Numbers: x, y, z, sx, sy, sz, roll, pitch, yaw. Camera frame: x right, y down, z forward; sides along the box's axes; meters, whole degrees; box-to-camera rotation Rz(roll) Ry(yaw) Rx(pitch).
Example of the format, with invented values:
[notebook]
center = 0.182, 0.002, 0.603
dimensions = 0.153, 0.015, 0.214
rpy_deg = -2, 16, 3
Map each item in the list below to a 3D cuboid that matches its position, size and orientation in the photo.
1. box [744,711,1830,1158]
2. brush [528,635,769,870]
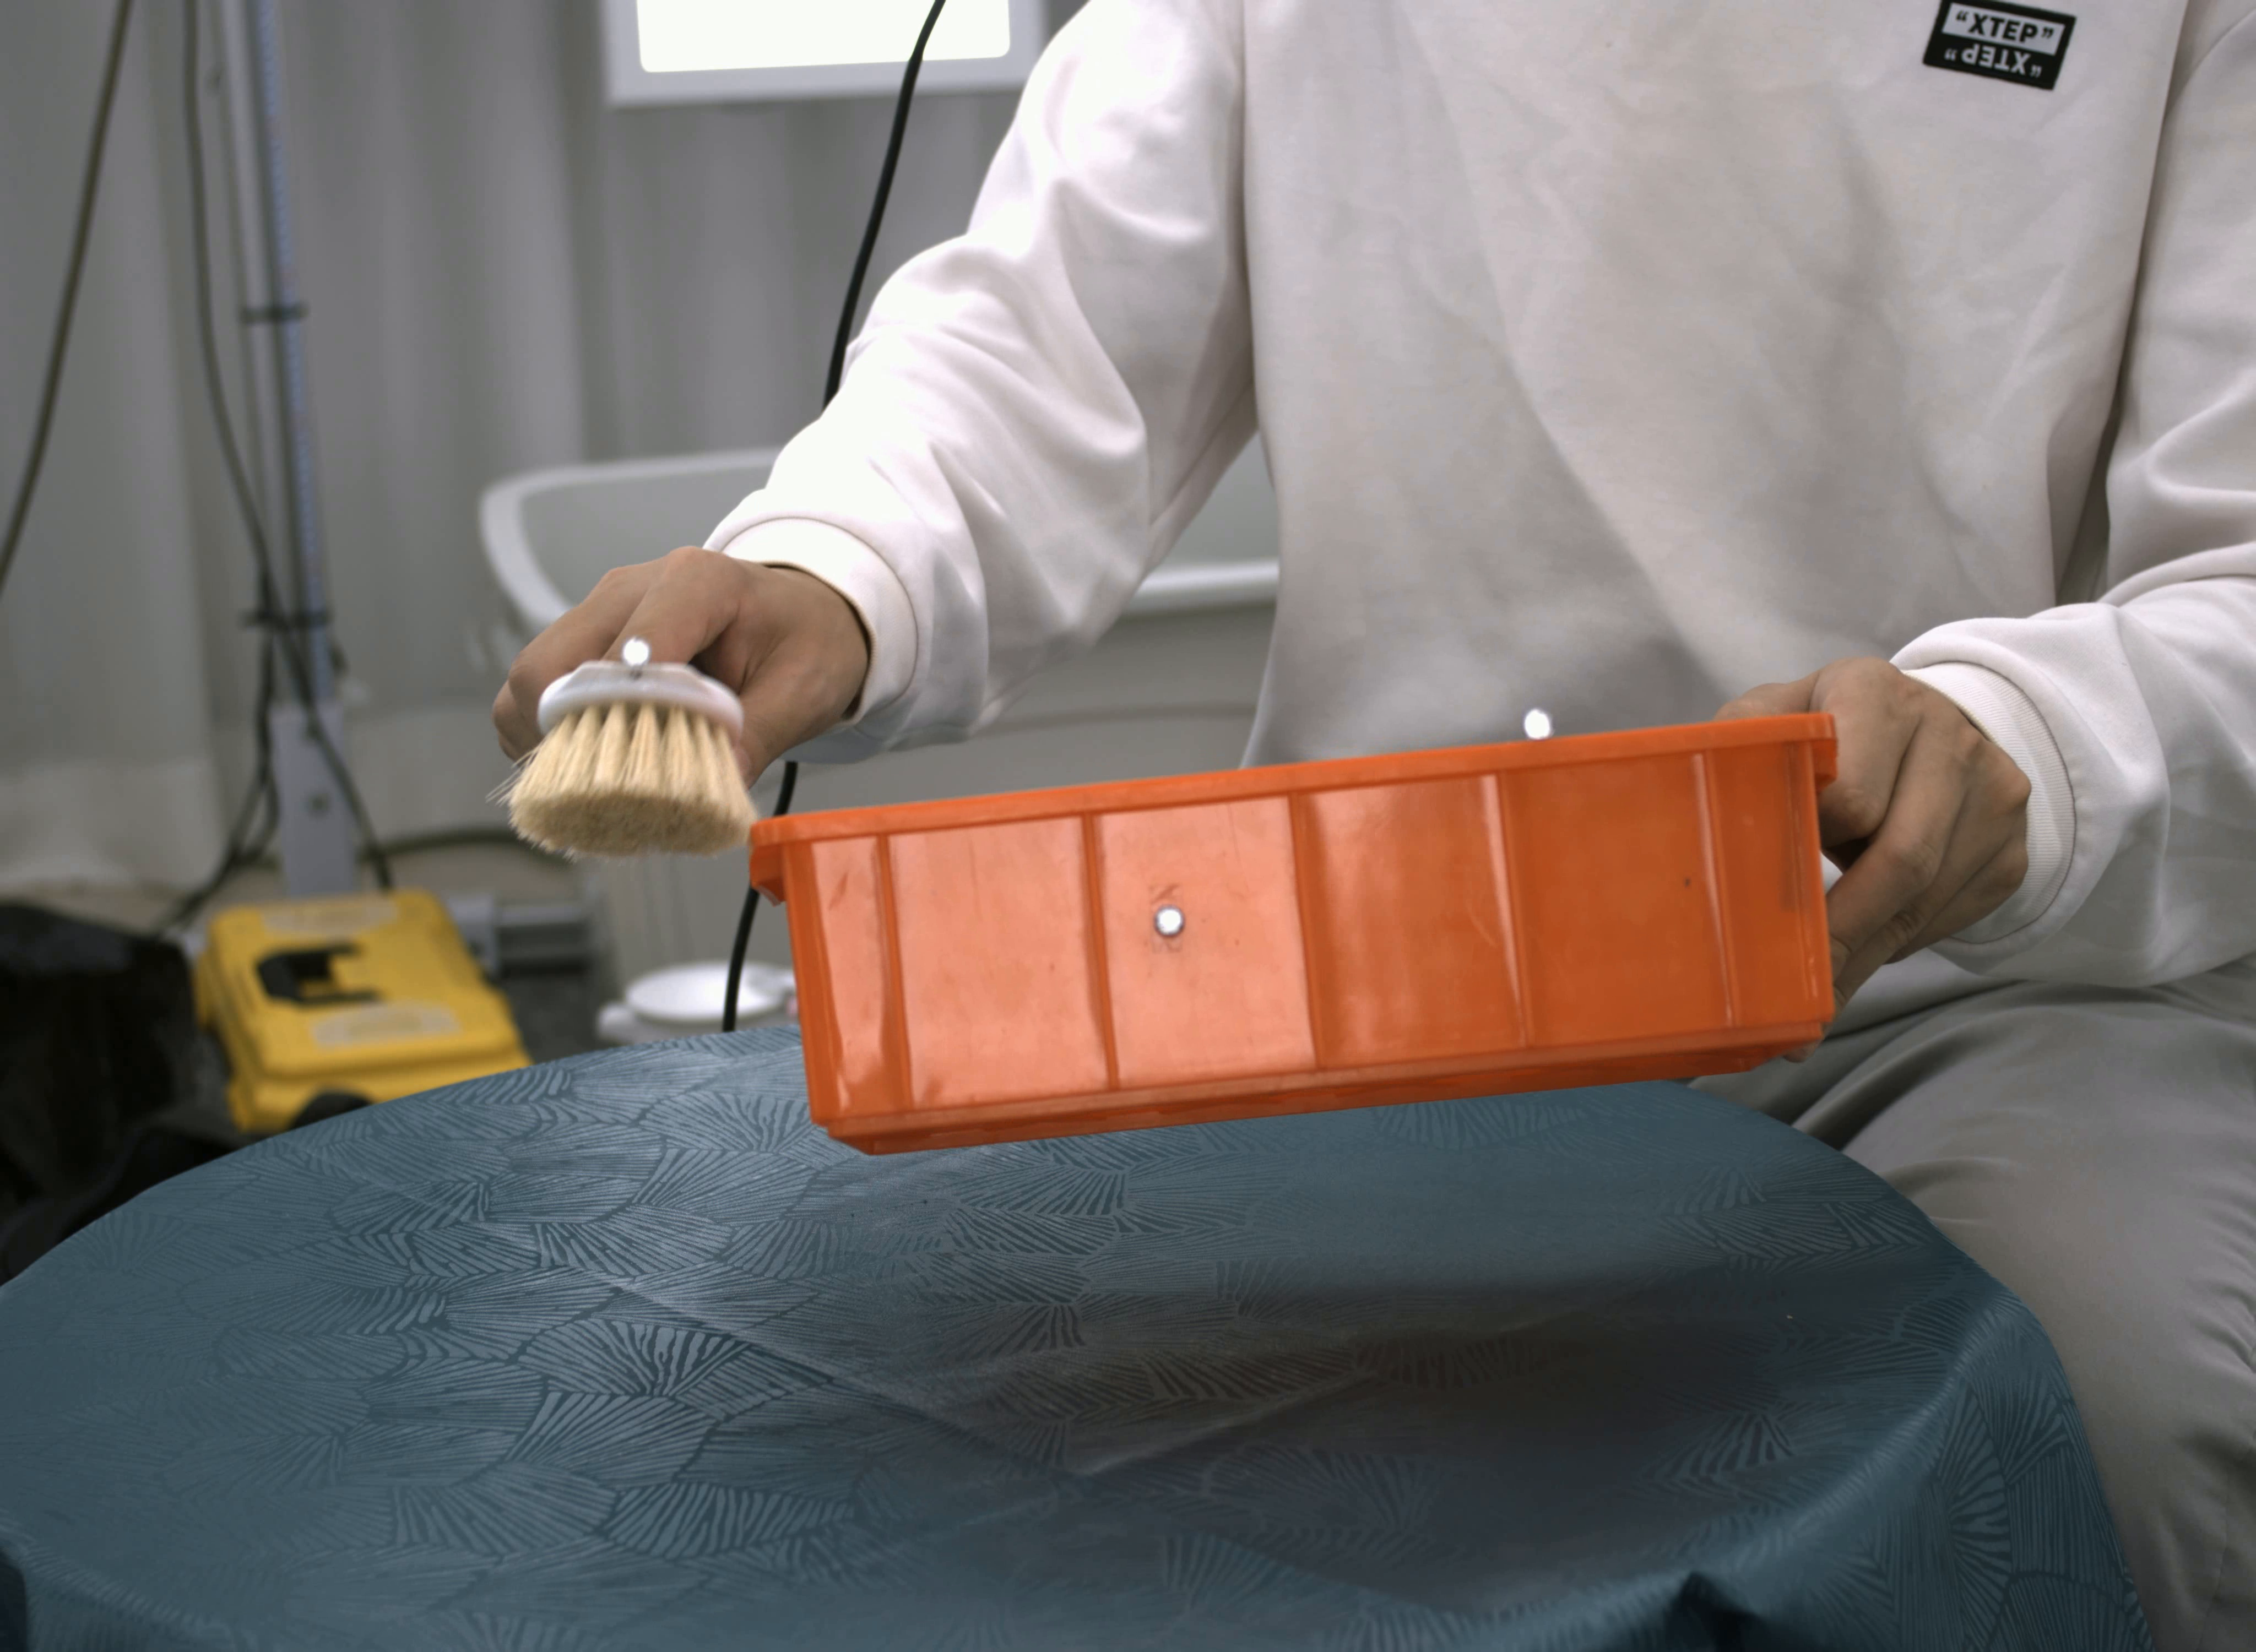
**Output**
[box]
center = 0.048, 0.037, 1.554
dimensions = 0.302, 0.097, 0.206
rpy_deg = -4, -6, 1
[brush]
center = -0.141, -0.009, 1.682
dimensions = 0.068, 0.056, 0.265
rpy_deg = 16, -8, -1
